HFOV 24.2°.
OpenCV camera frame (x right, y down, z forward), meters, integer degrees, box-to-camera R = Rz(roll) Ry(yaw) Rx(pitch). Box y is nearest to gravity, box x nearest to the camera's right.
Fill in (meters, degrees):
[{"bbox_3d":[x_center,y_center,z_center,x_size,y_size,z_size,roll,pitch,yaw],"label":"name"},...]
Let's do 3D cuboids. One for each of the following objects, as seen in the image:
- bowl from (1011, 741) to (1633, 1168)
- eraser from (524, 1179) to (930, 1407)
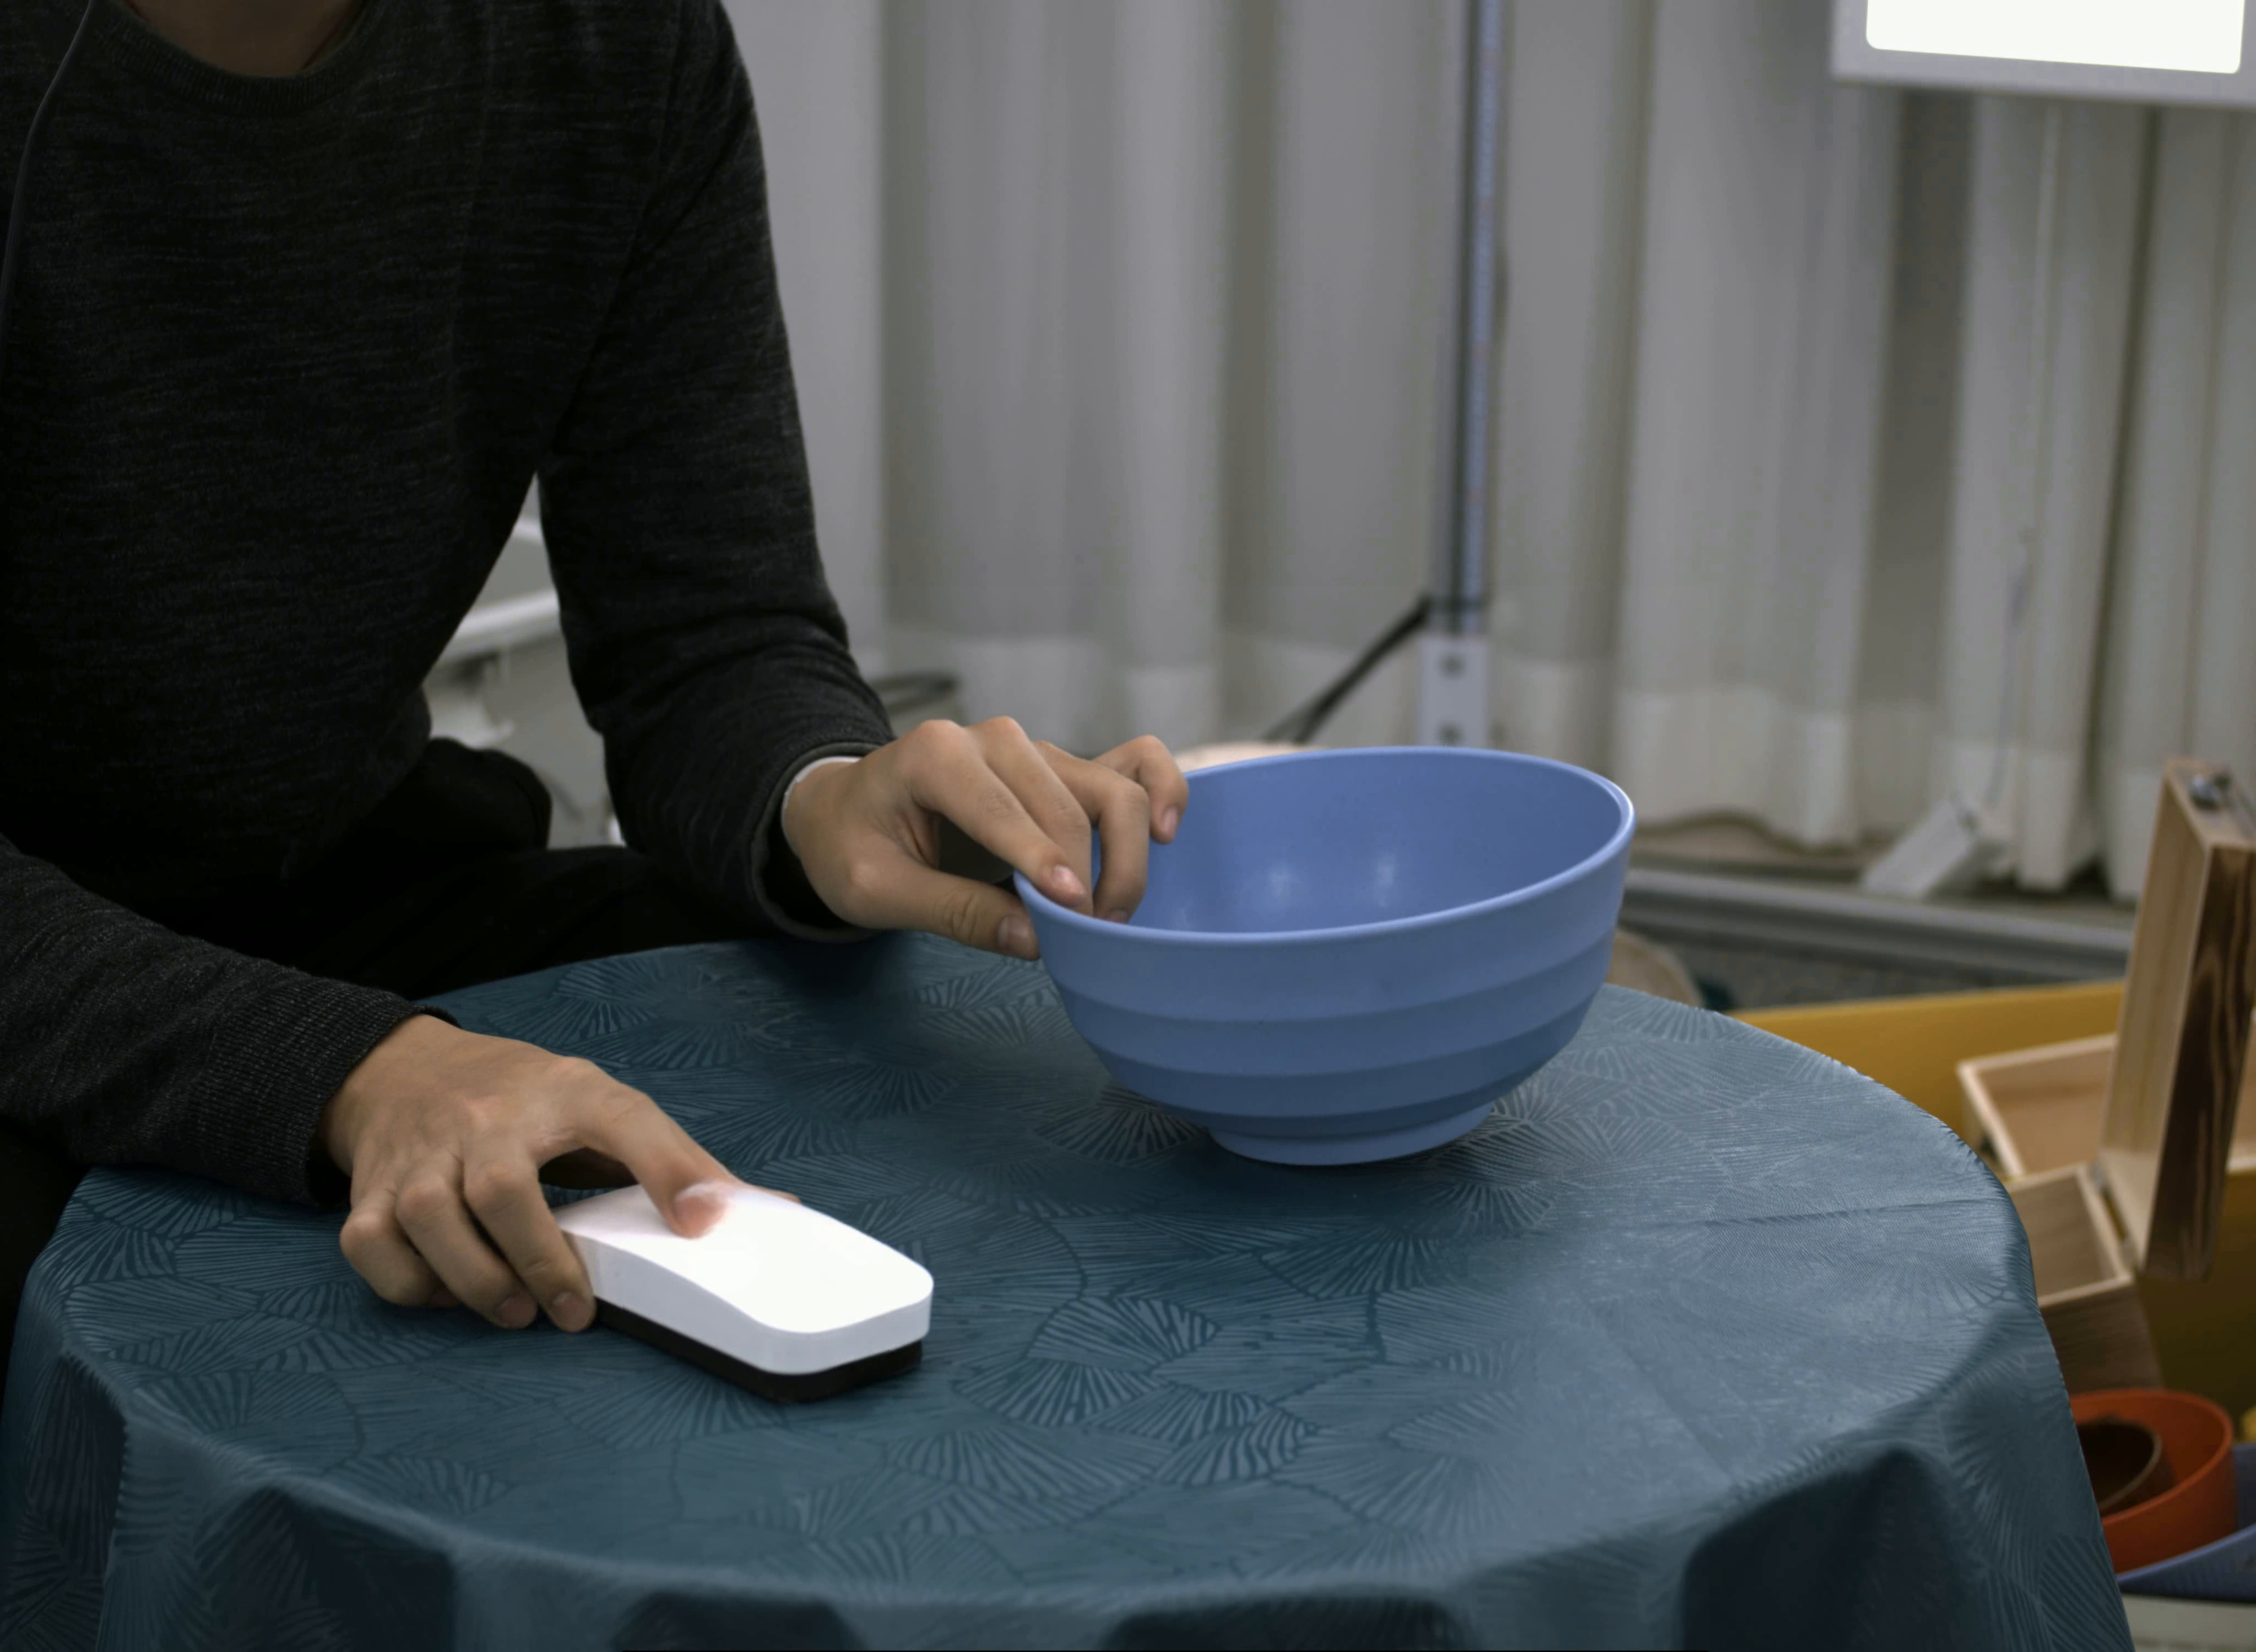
[{"bbox_3d":[0.065,0.047,1.663,0.196,0.096,0.195,-6,18,2],"label":"bowl"},{"bbox_3d":[-0.114,0.128,1.501,0.064,0.035,0.129,-13,21,-40],"label":"eraser"}]
